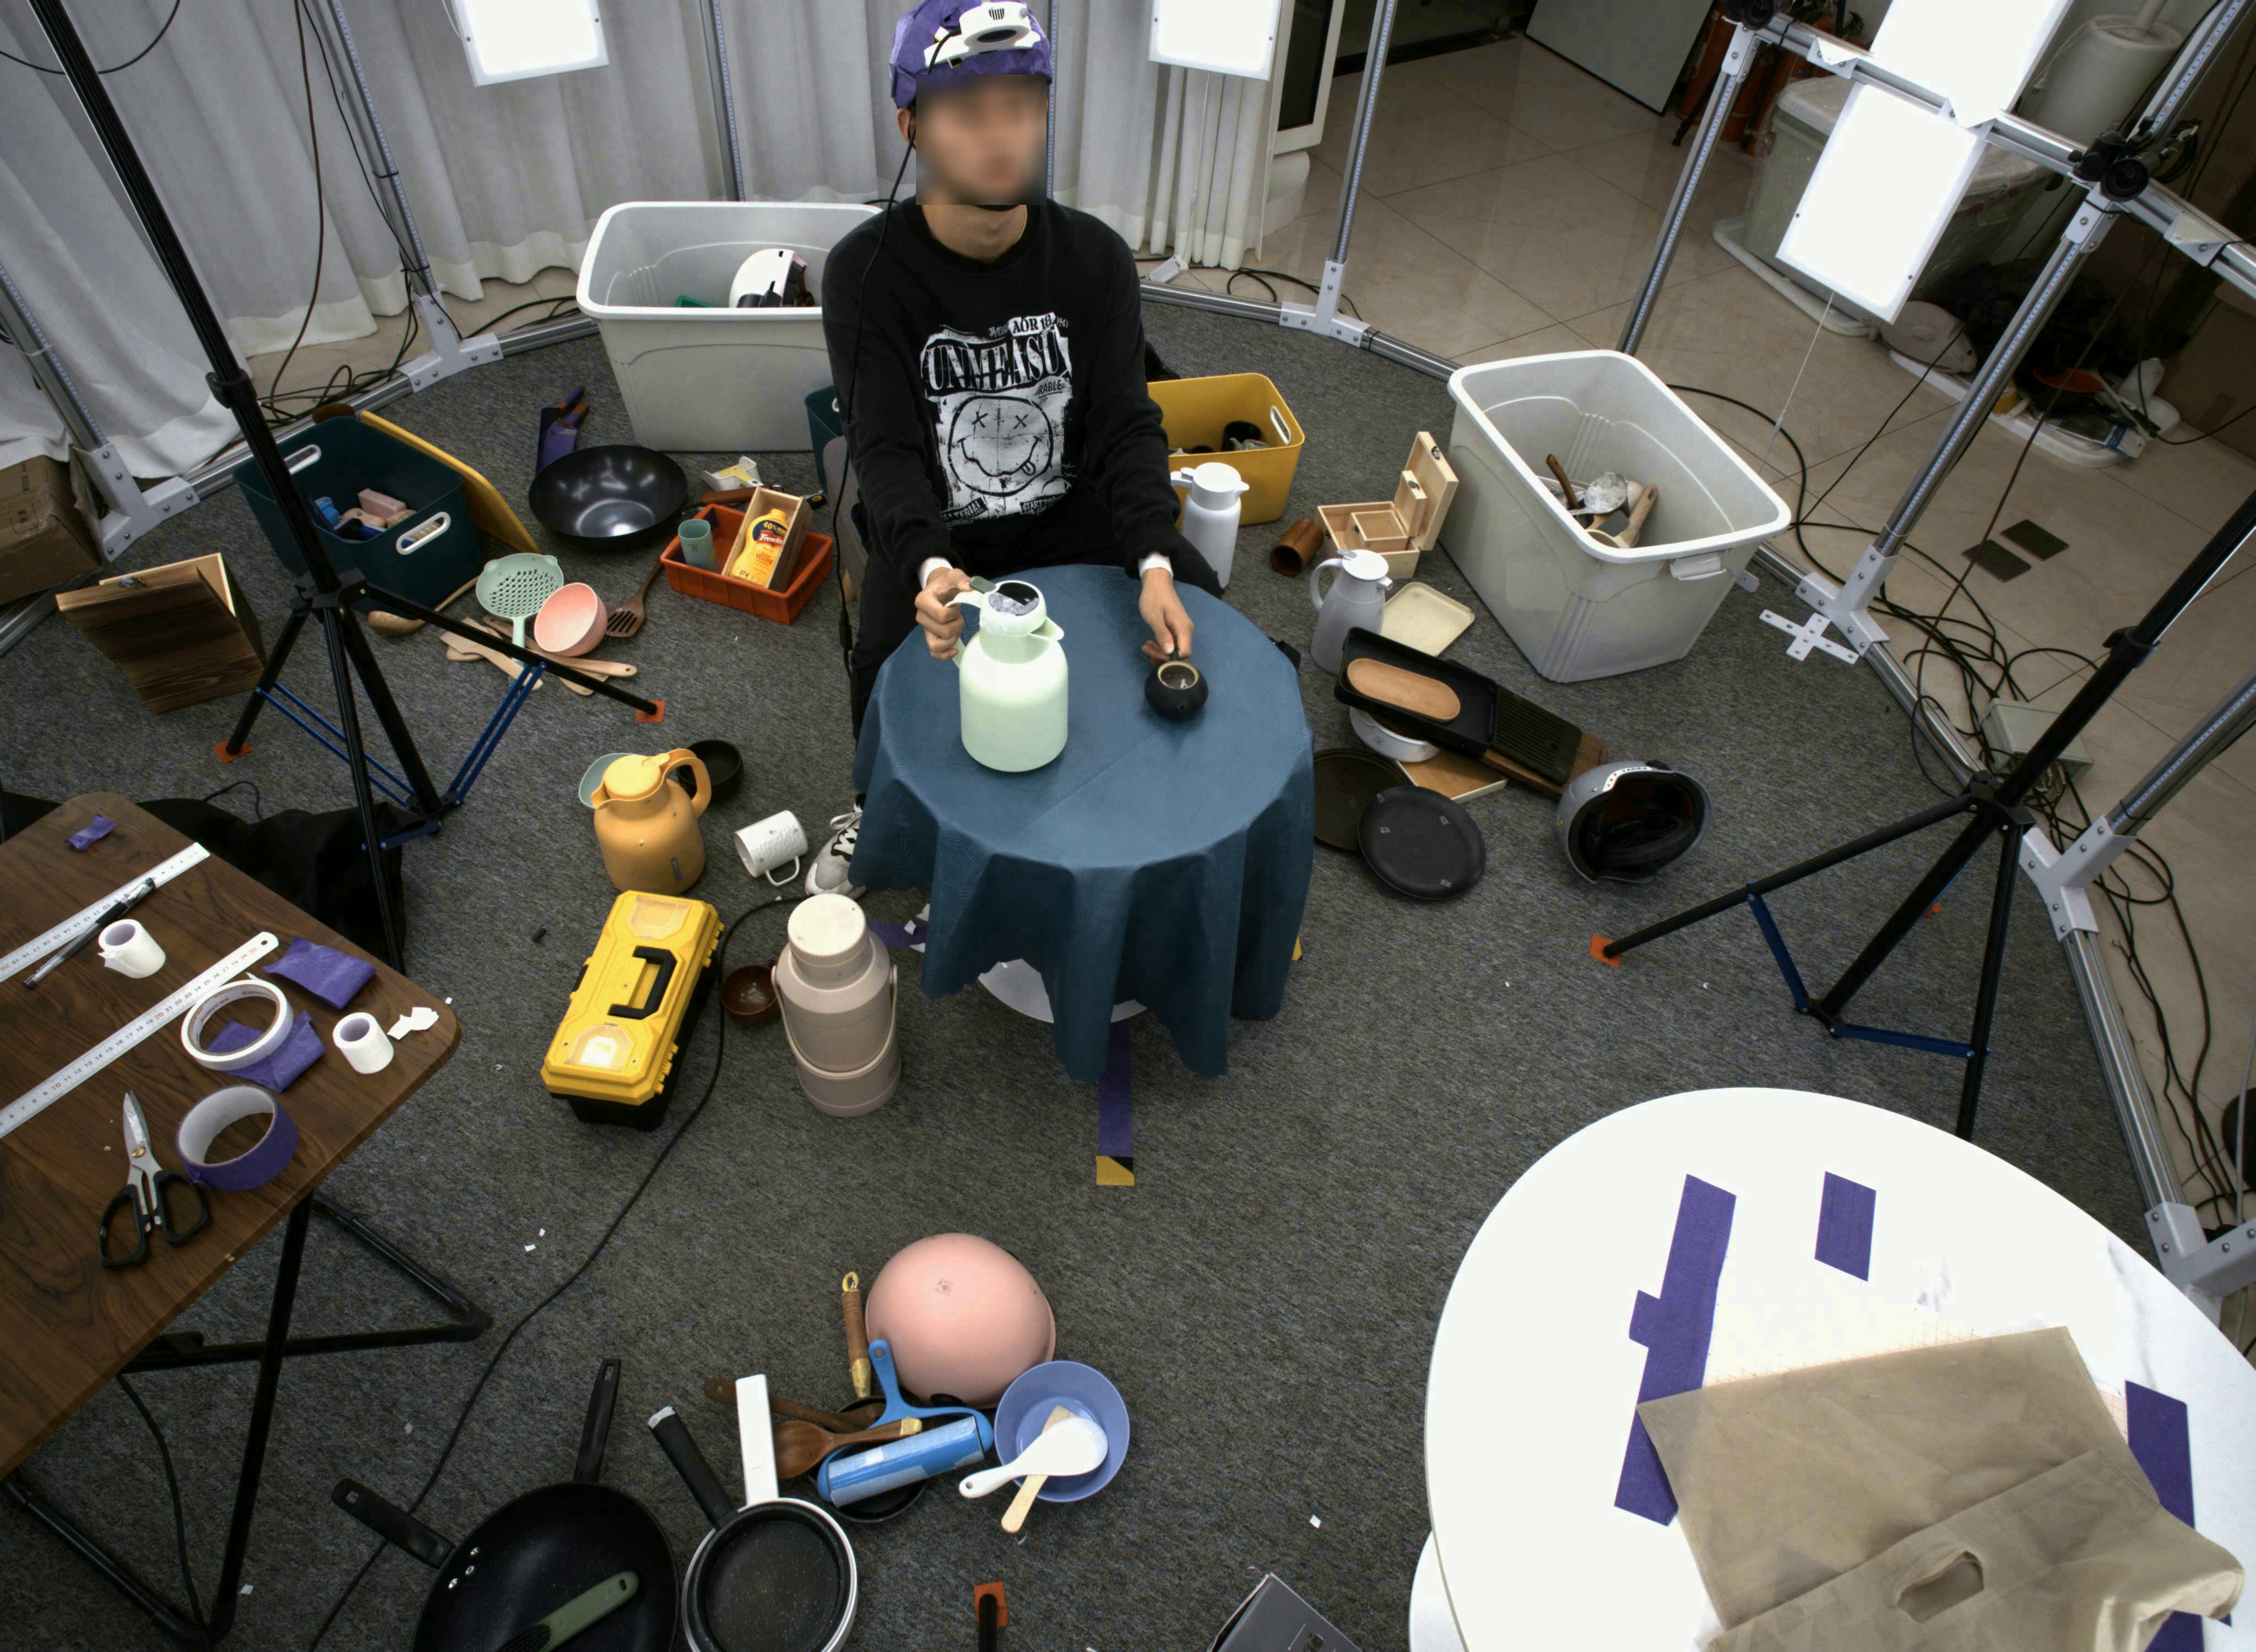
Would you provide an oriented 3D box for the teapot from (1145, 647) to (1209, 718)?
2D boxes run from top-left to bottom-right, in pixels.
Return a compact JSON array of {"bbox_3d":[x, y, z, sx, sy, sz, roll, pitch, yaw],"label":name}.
[{"bbox_3d":[0.069,-0.195,1.808,0.091,0.052,0.136,0,50,-5],"label":"teapot"}]

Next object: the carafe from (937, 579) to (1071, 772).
[{"bbox_3d":[-0.161,-0.205,1.676,0.188,0.250,0.146,25,54,21],"label":"carafe"}]
